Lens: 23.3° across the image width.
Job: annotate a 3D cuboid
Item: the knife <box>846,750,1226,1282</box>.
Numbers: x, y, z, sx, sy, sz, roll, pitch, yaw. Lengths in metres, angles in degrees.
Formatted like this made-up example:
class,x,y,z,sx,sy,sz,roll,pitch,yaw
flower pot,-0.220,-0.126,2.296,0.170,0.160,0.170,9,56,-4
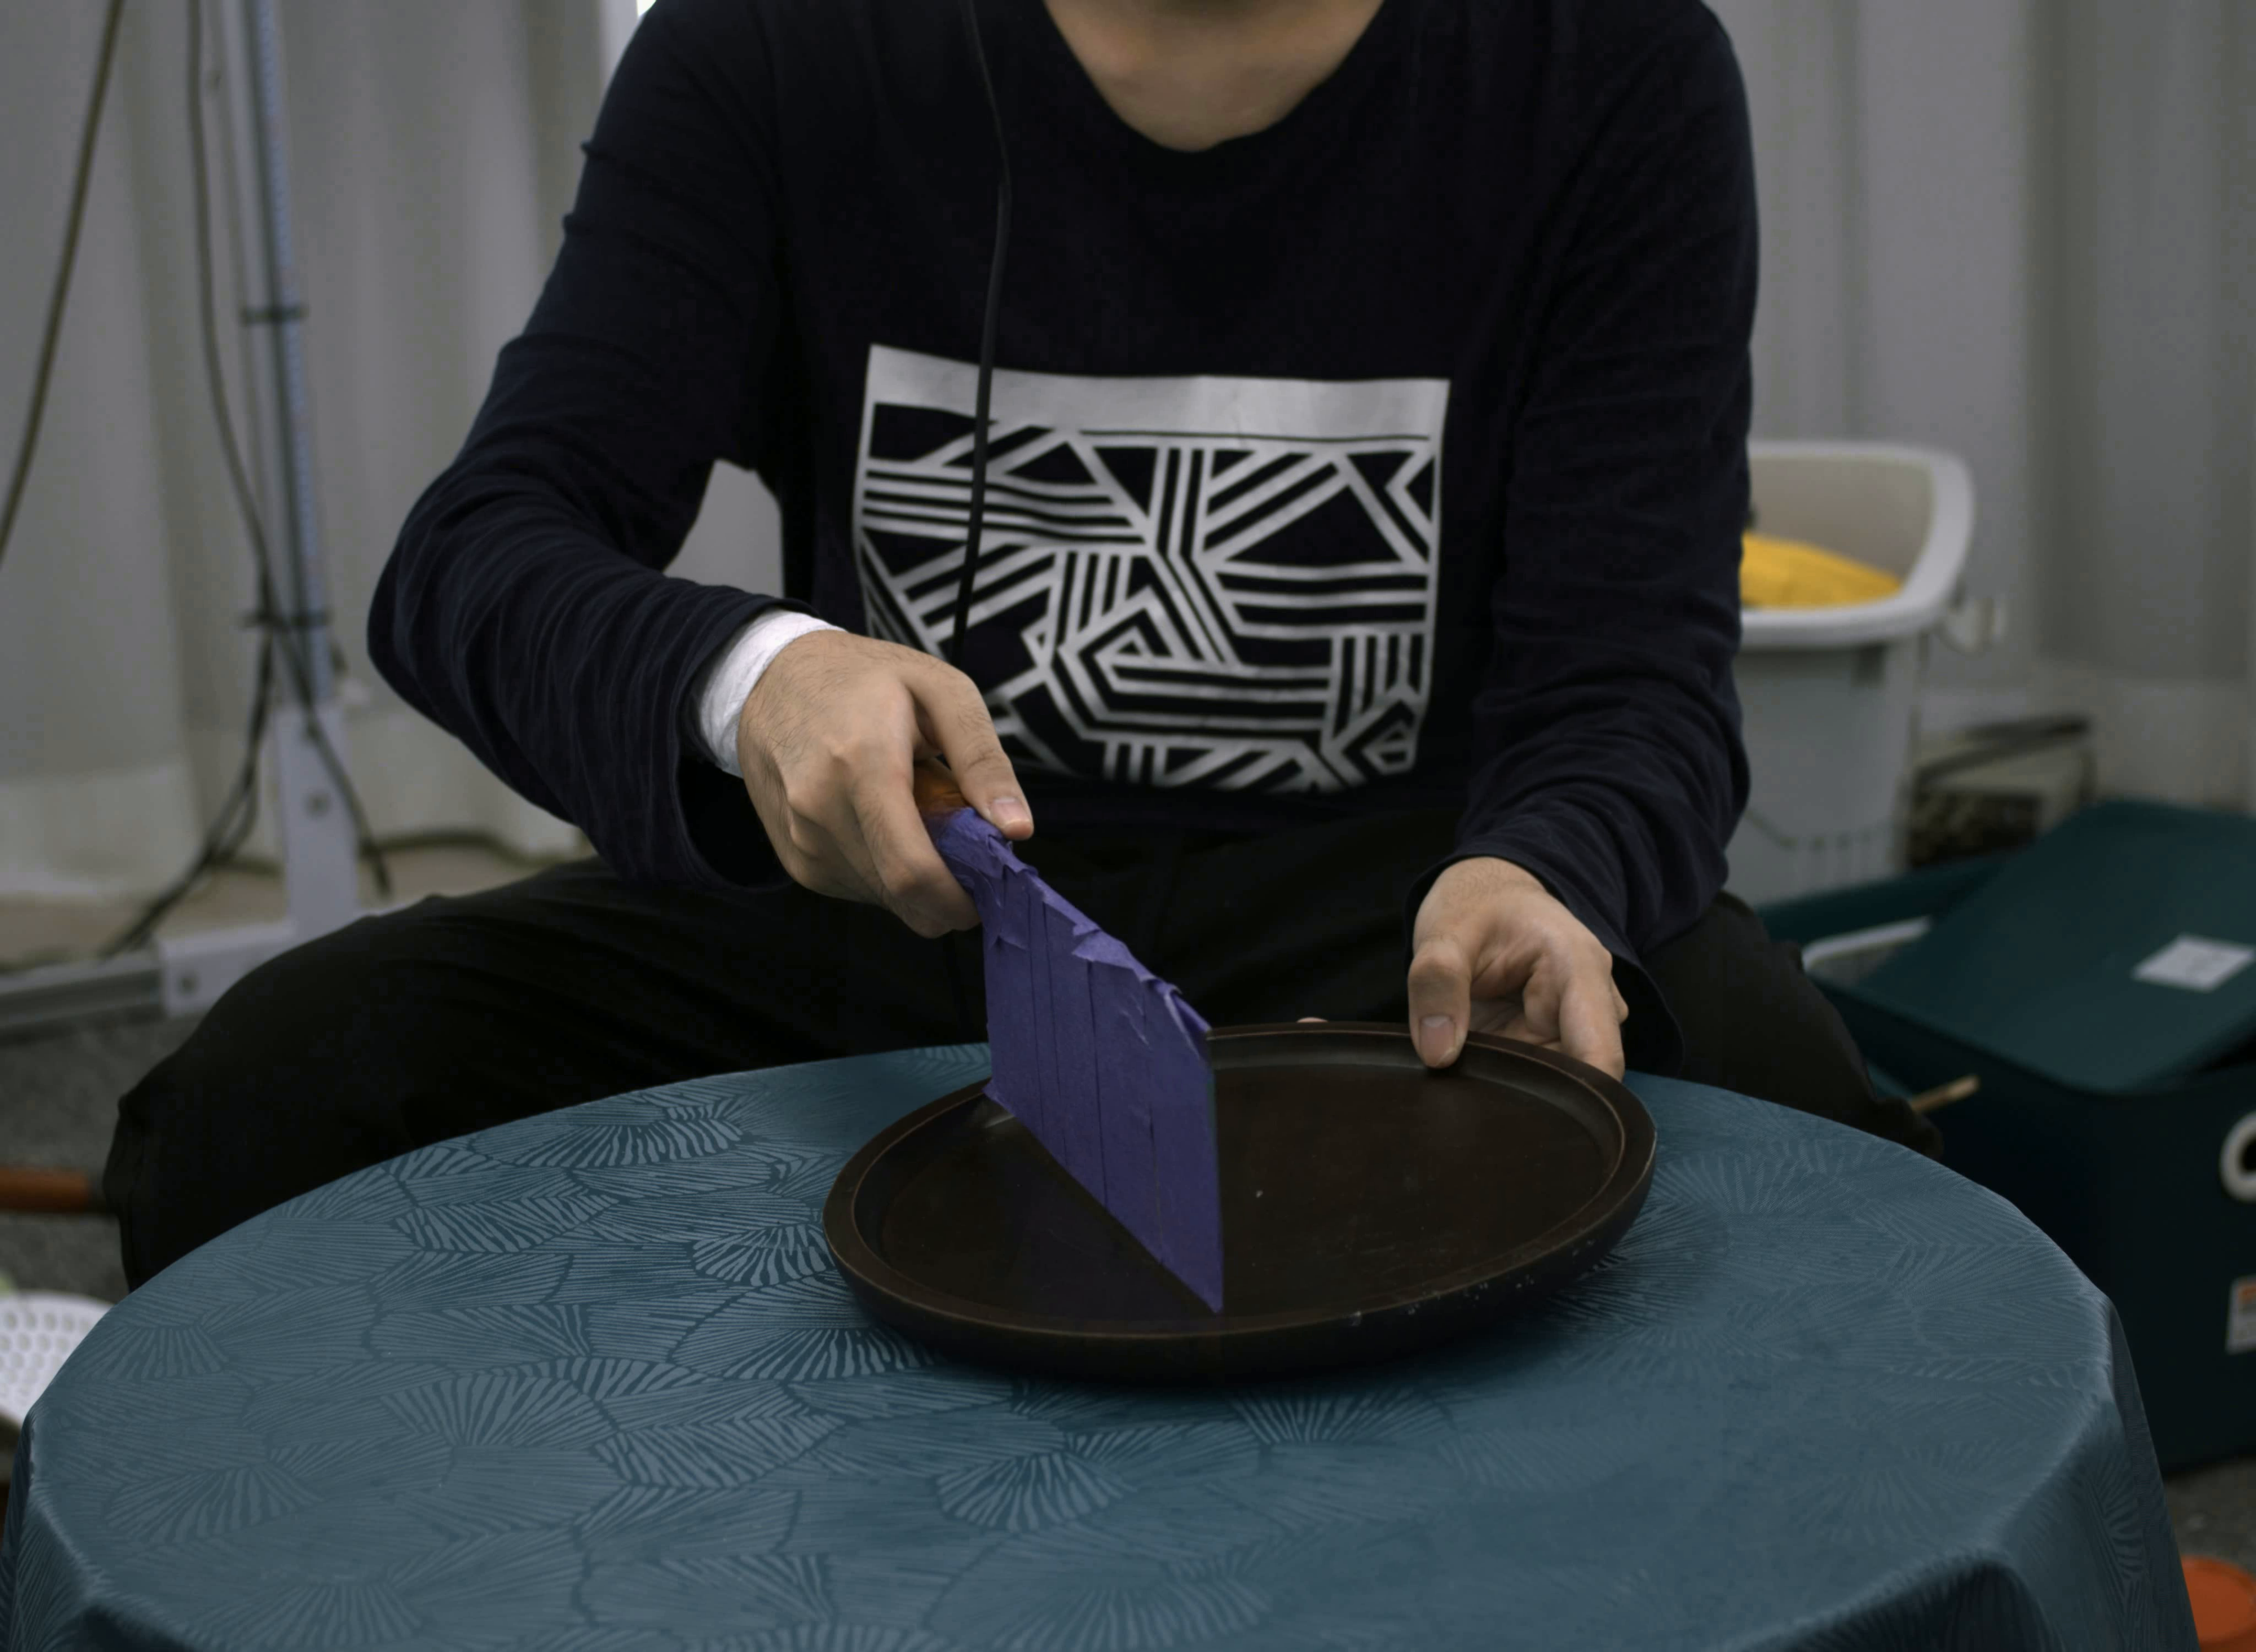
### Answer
class,x,y,z,sx,sy,sz,roll,pitch,yaw
knife,-0.031,0.056,1.671,0.032,0.103,0.318,-6,16,-17

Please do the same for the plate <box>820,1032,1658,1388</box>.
class,x,y,z,sx,sy,sz,roll,pitch,yaw
plate,0.033,0.112,1.645,0.254,0.029,0.257,-5,18,1
